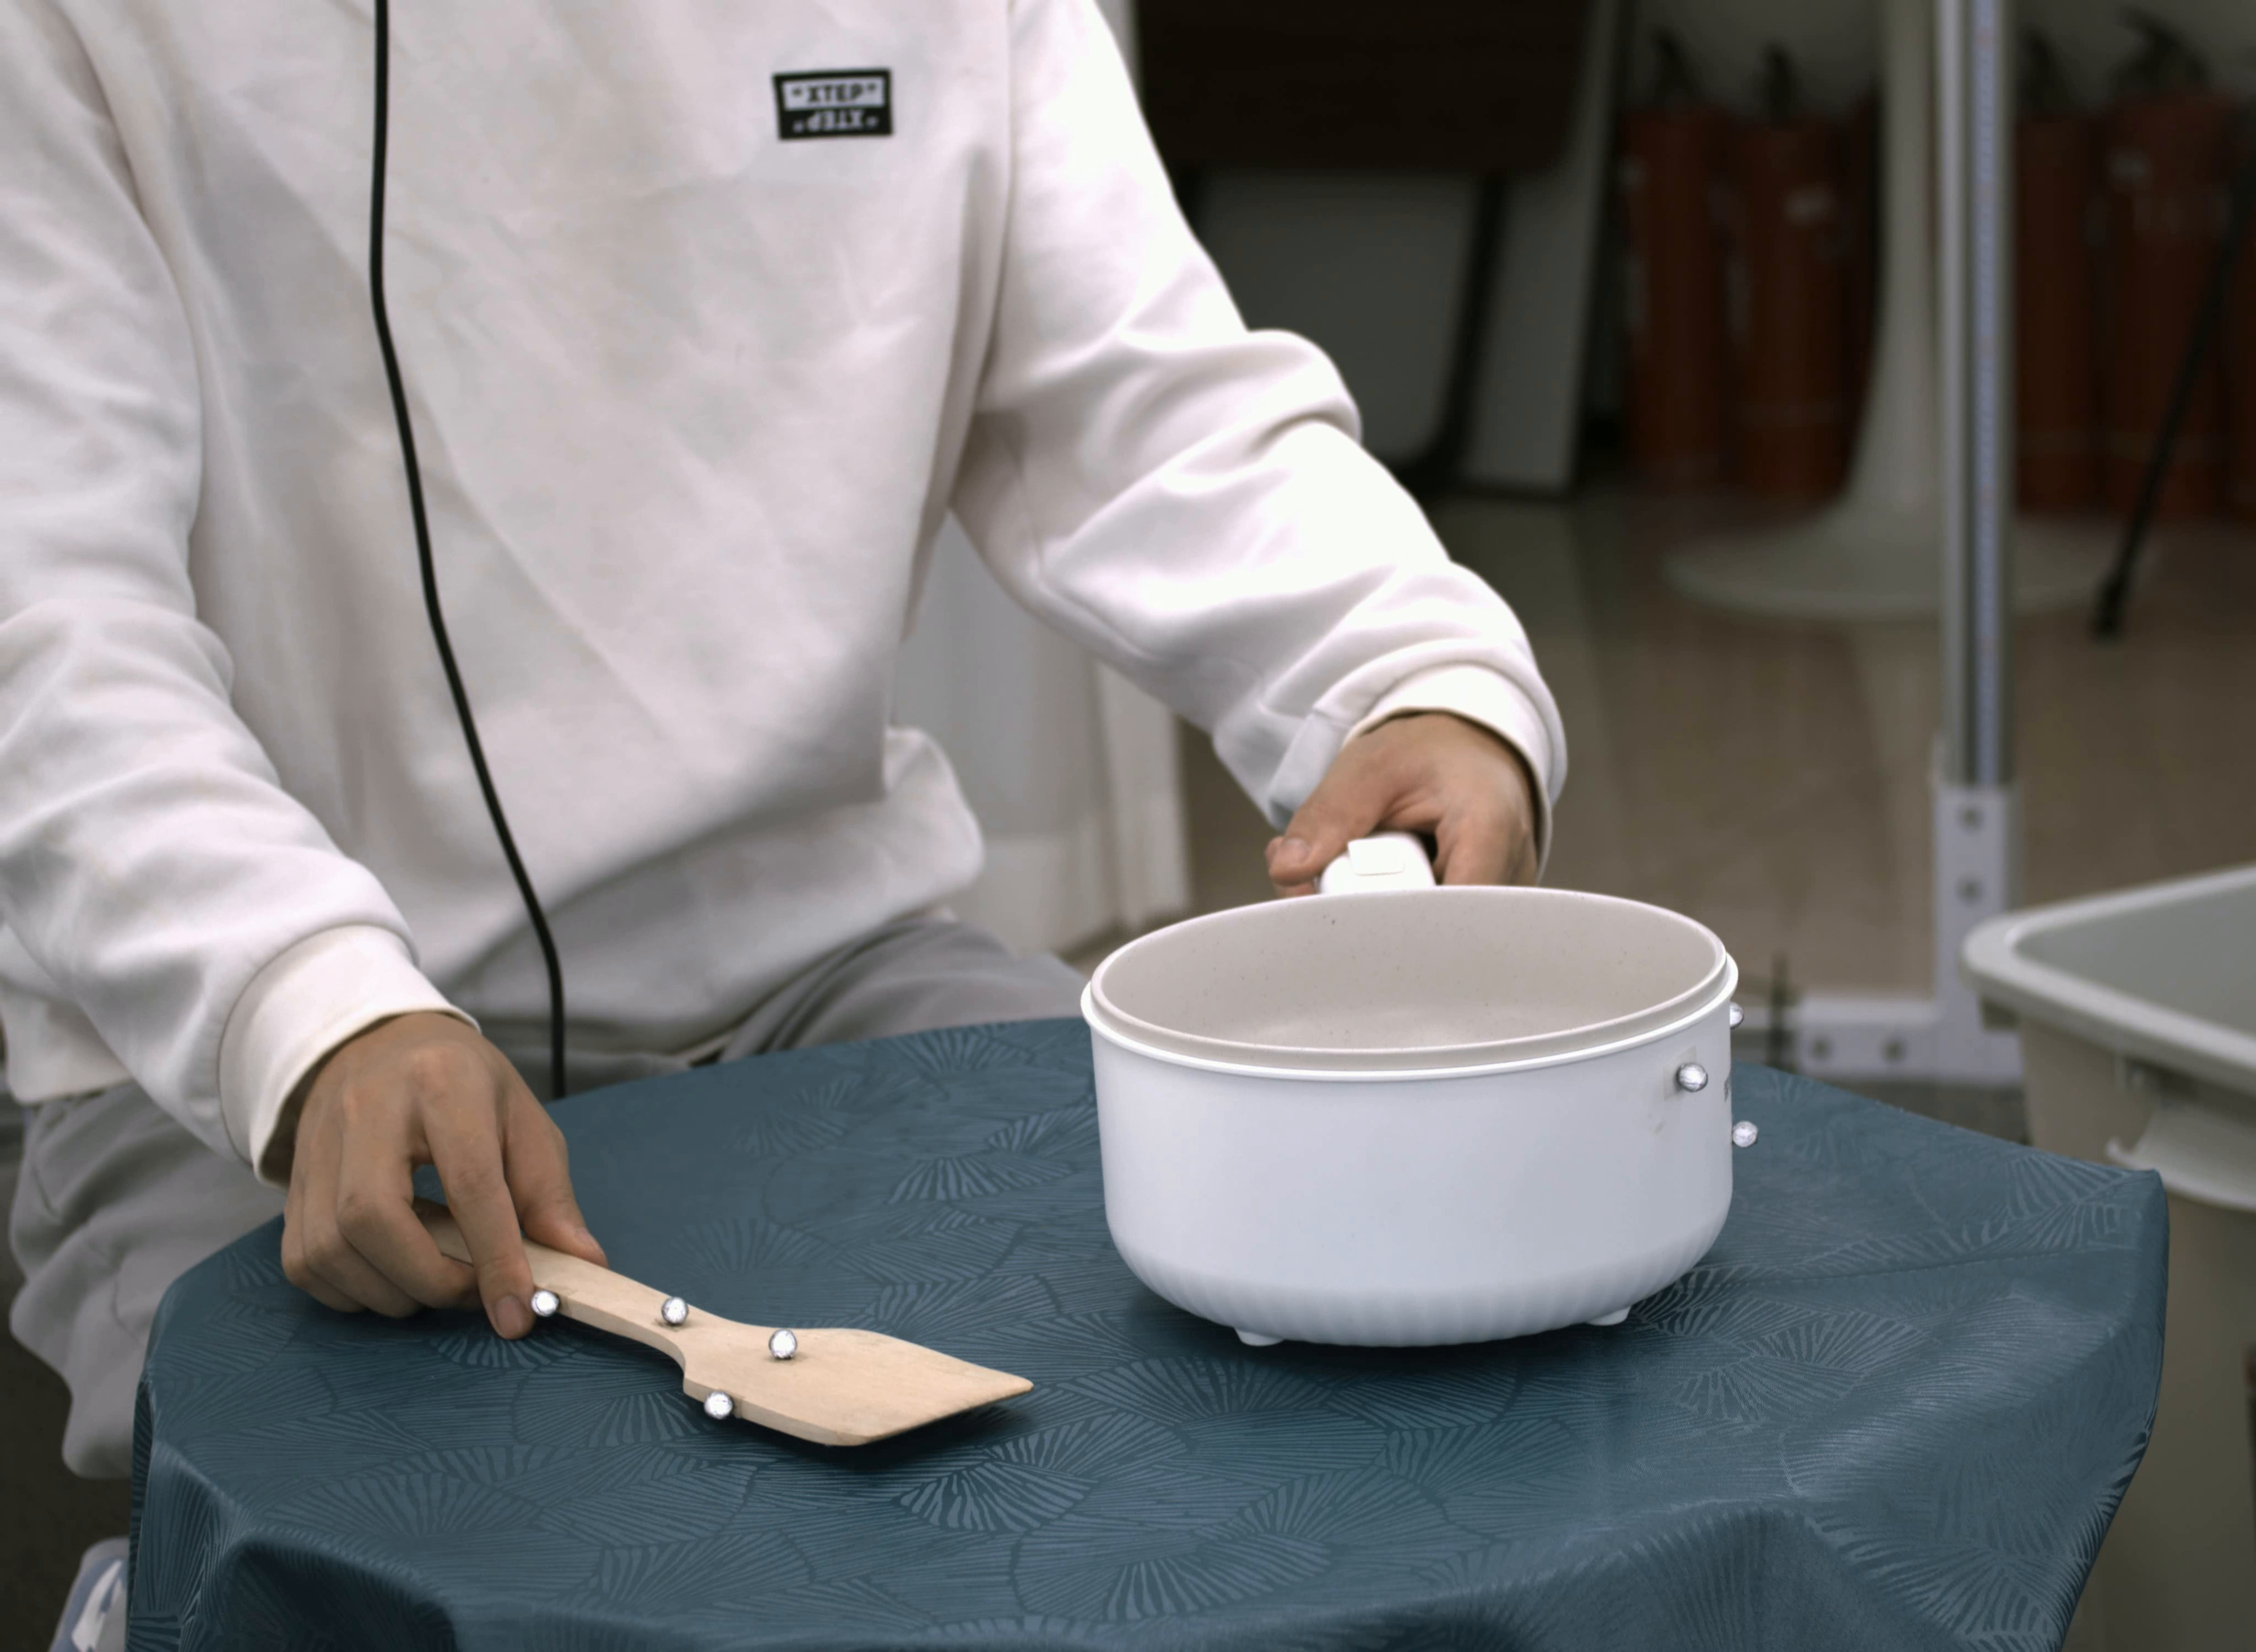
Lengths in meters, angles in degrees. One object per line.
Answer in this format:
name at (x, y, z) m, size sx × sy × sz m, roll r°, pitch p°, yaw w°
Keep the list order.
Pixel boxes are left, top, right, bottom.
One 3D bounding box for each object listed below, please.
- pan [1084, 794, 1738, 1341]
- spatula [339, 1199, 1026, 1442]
pan at (0.087, 0.073, 1.721) m, size 0.198 × 0.103 × 0.355 m, roll -4°, pitch 12°, yaw 0°
spatula at (-0.151, 0.149, 1.654) m, size 0.071 × 0.011 × 0.296 m, roll -13°, pitch 17°, yaw -40°
